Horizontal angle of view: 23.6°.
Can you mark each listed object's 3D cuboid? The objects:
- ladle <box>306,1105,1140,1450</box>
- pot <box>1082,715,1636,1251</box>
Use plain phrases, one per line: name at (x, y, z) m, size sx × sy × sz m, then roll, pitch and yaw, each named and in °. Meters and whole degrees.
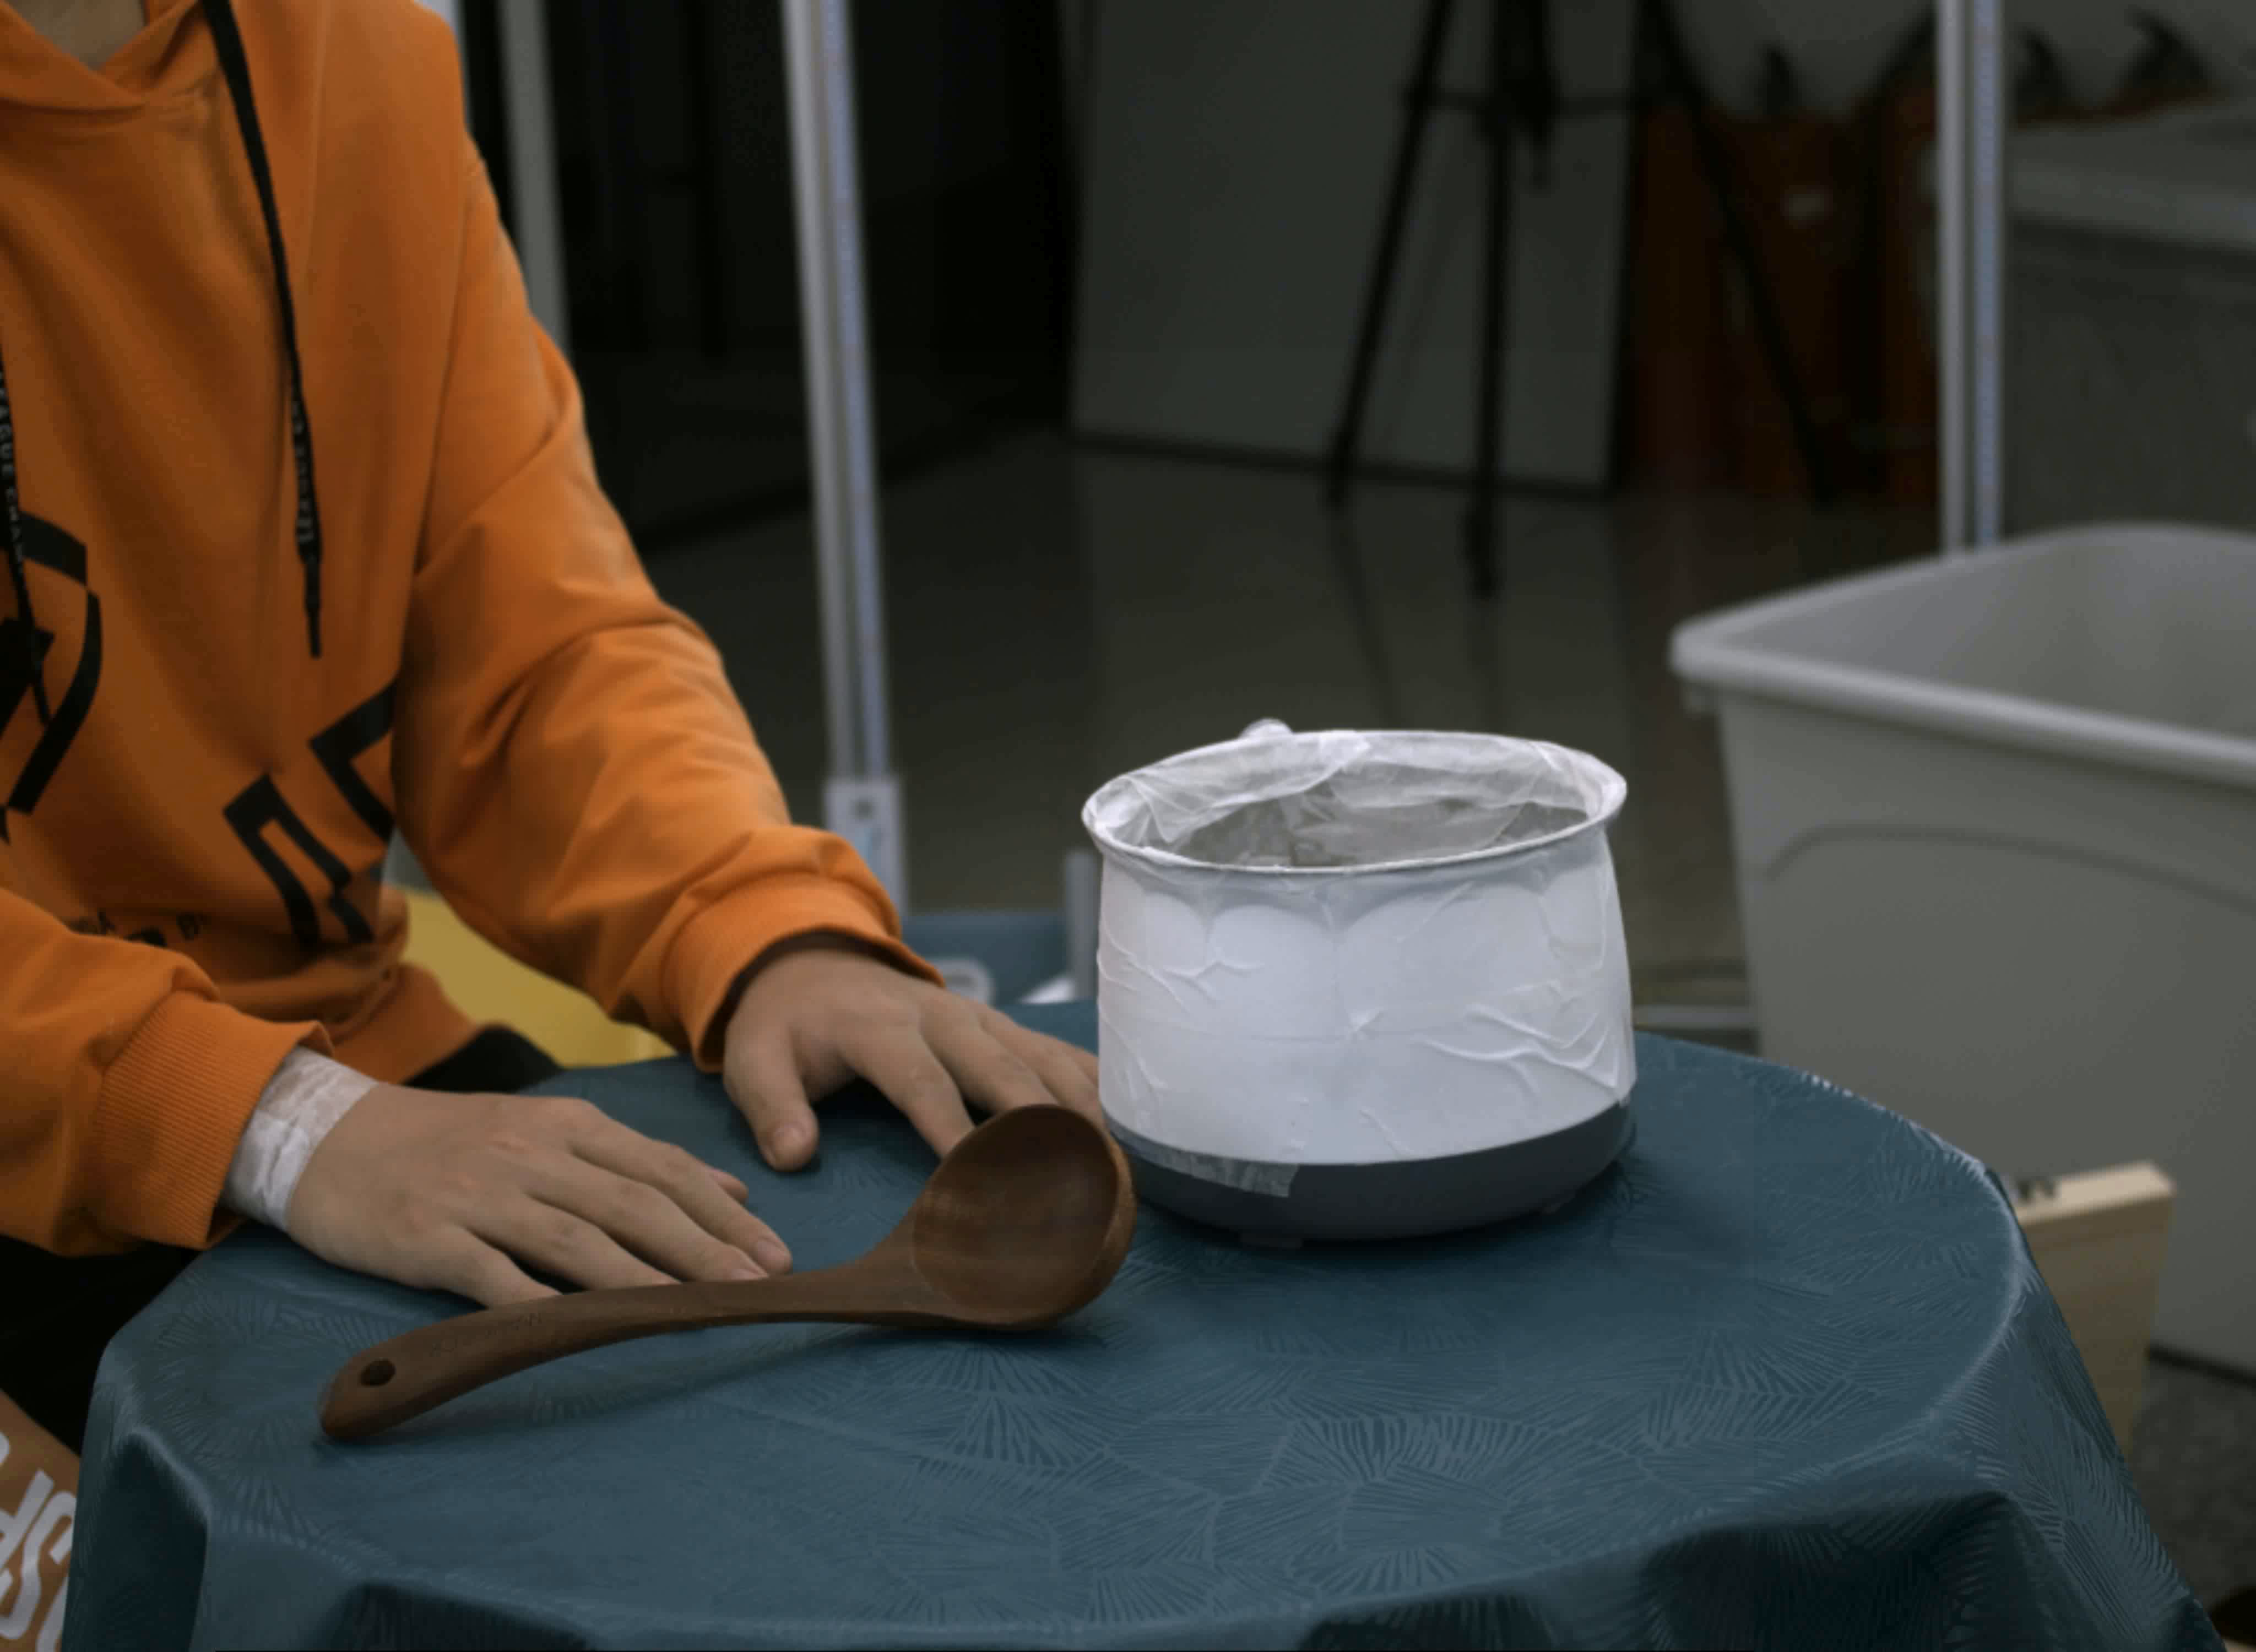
ladle at (-0.119, 0.136, 1.618) m, size 0.255 × 0.065 × 0.077 m, roll -9°, pitch 39°, yaw -20°
pot at (0.068, 0.045, 1.771) m, size 0.175 × 0.138 × 0.235 m, roll -7°, pitch 14°, yaw -14°
